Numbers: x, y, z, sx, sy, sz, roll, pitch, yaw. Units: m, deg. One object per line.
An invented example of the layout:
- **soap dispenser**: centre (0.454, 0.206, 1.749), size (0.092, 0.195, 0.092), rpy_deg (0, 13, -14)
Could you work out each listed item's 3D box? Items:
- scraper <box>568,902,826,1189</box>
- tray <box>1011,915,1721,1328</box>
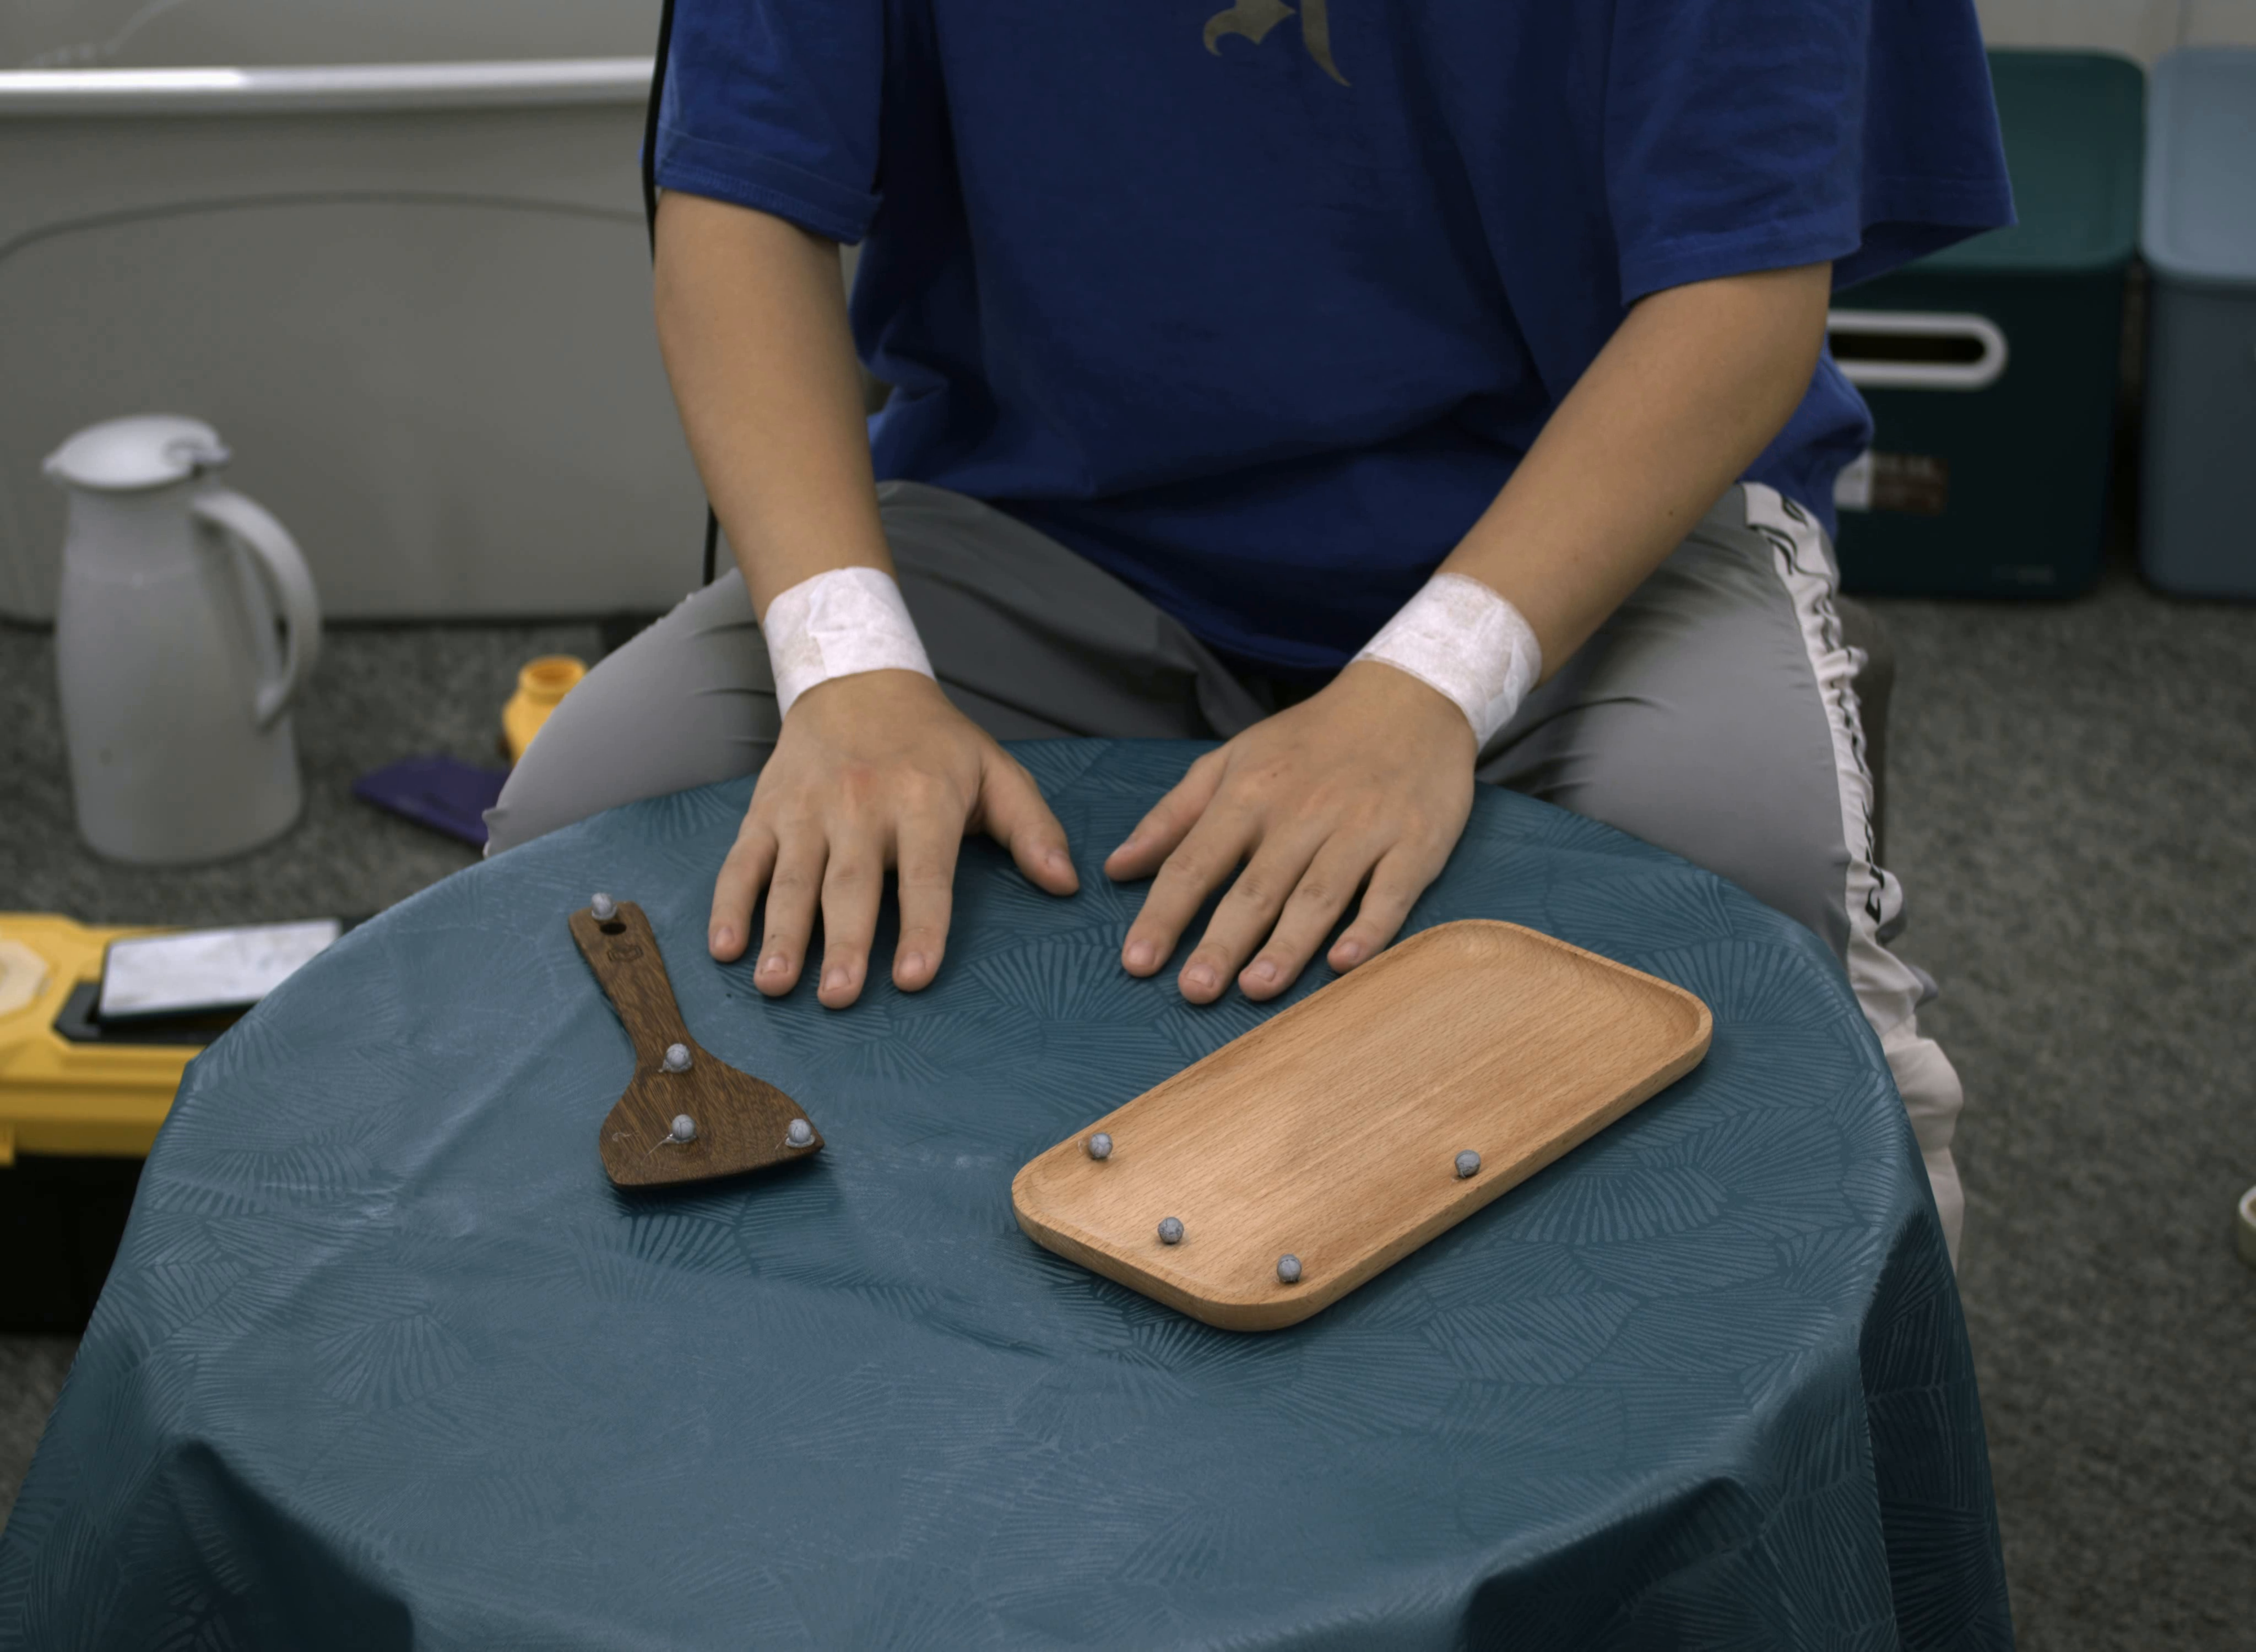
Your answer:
- **scraper**: centre (-0.163, 0.075, 1.957), size (0.076, 0.011, 0.213), rpy_deg (-9, 27, -13)
- **tray**: centre (0.082, 0.097, 1.882), size (0.130, 0.022, 0.254), rpy_deg (24, 37, 38)
